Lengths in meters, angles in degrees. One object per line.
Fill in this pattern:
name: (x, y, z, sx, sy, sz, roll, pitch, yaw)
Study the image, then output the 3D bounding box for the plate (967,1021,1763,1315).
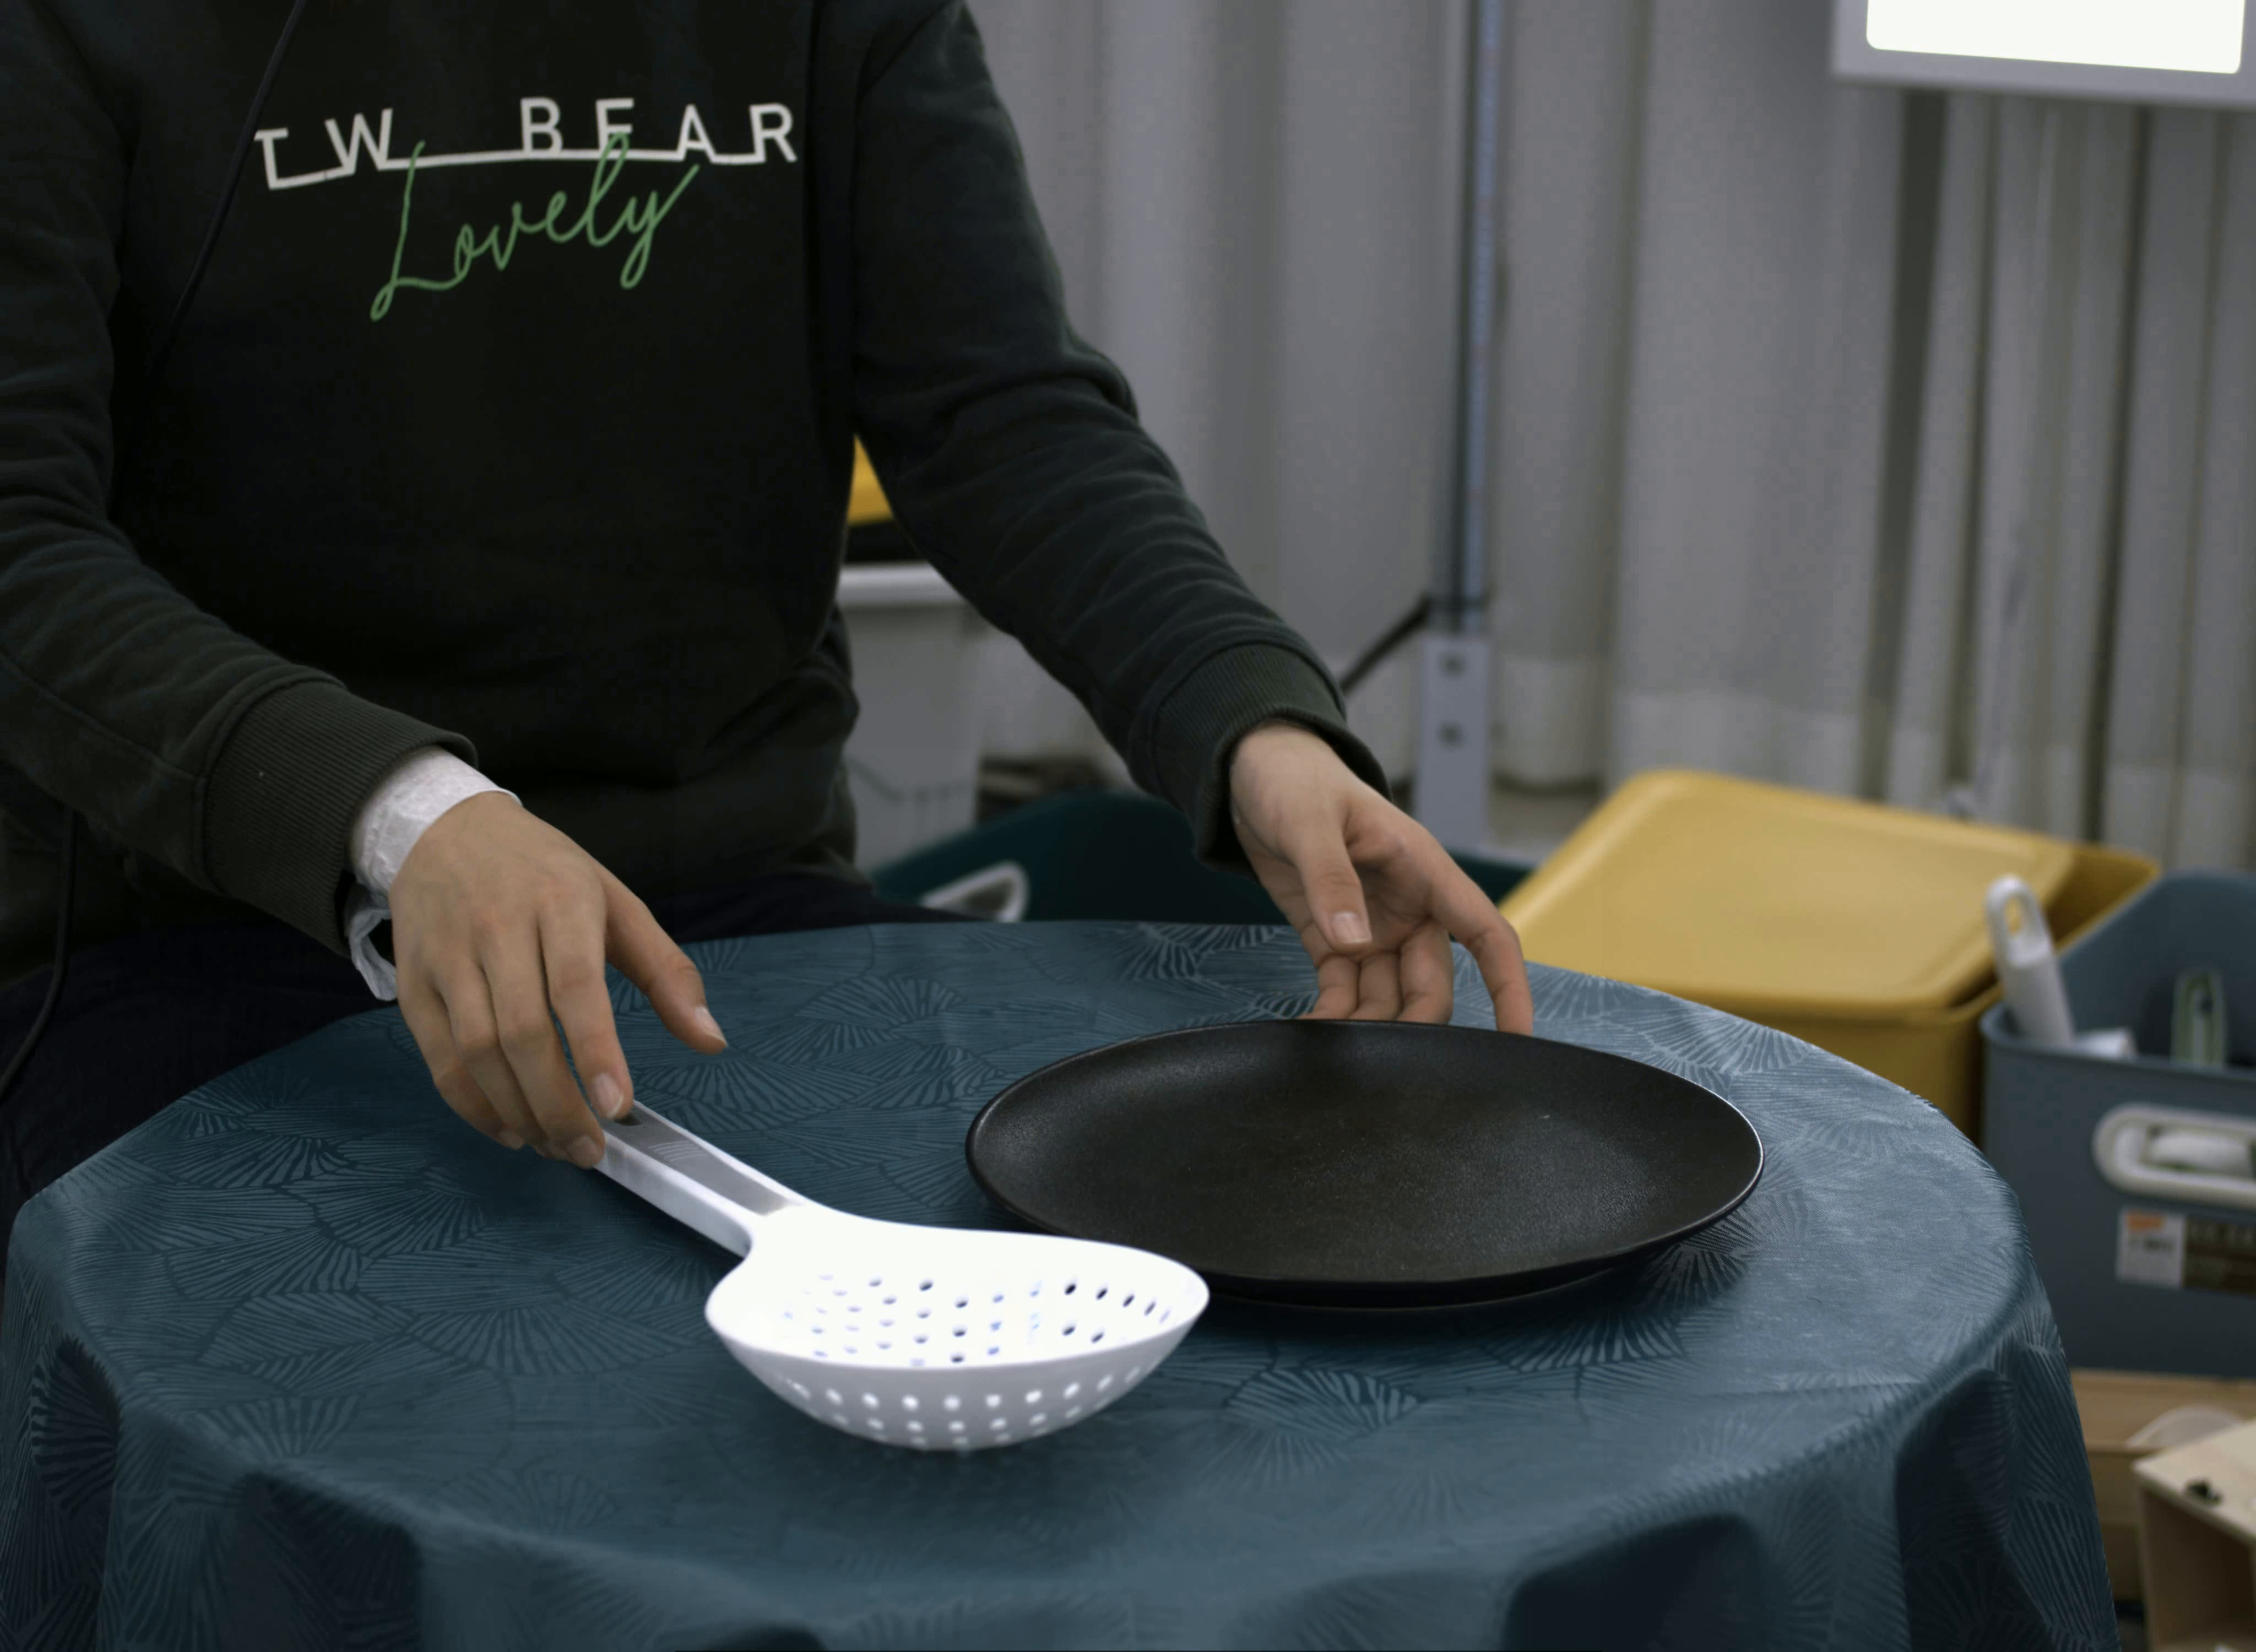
plate: (0.072, 0.106, 1.610, 0.243, 0.023, 0.243, 1, 16, 0)

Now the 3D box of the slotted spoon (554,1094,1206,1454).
slotted spoon: (-0.095, 0.119, 1.516, 0.136, 0.046, 0.345, -5, 16, -26)
